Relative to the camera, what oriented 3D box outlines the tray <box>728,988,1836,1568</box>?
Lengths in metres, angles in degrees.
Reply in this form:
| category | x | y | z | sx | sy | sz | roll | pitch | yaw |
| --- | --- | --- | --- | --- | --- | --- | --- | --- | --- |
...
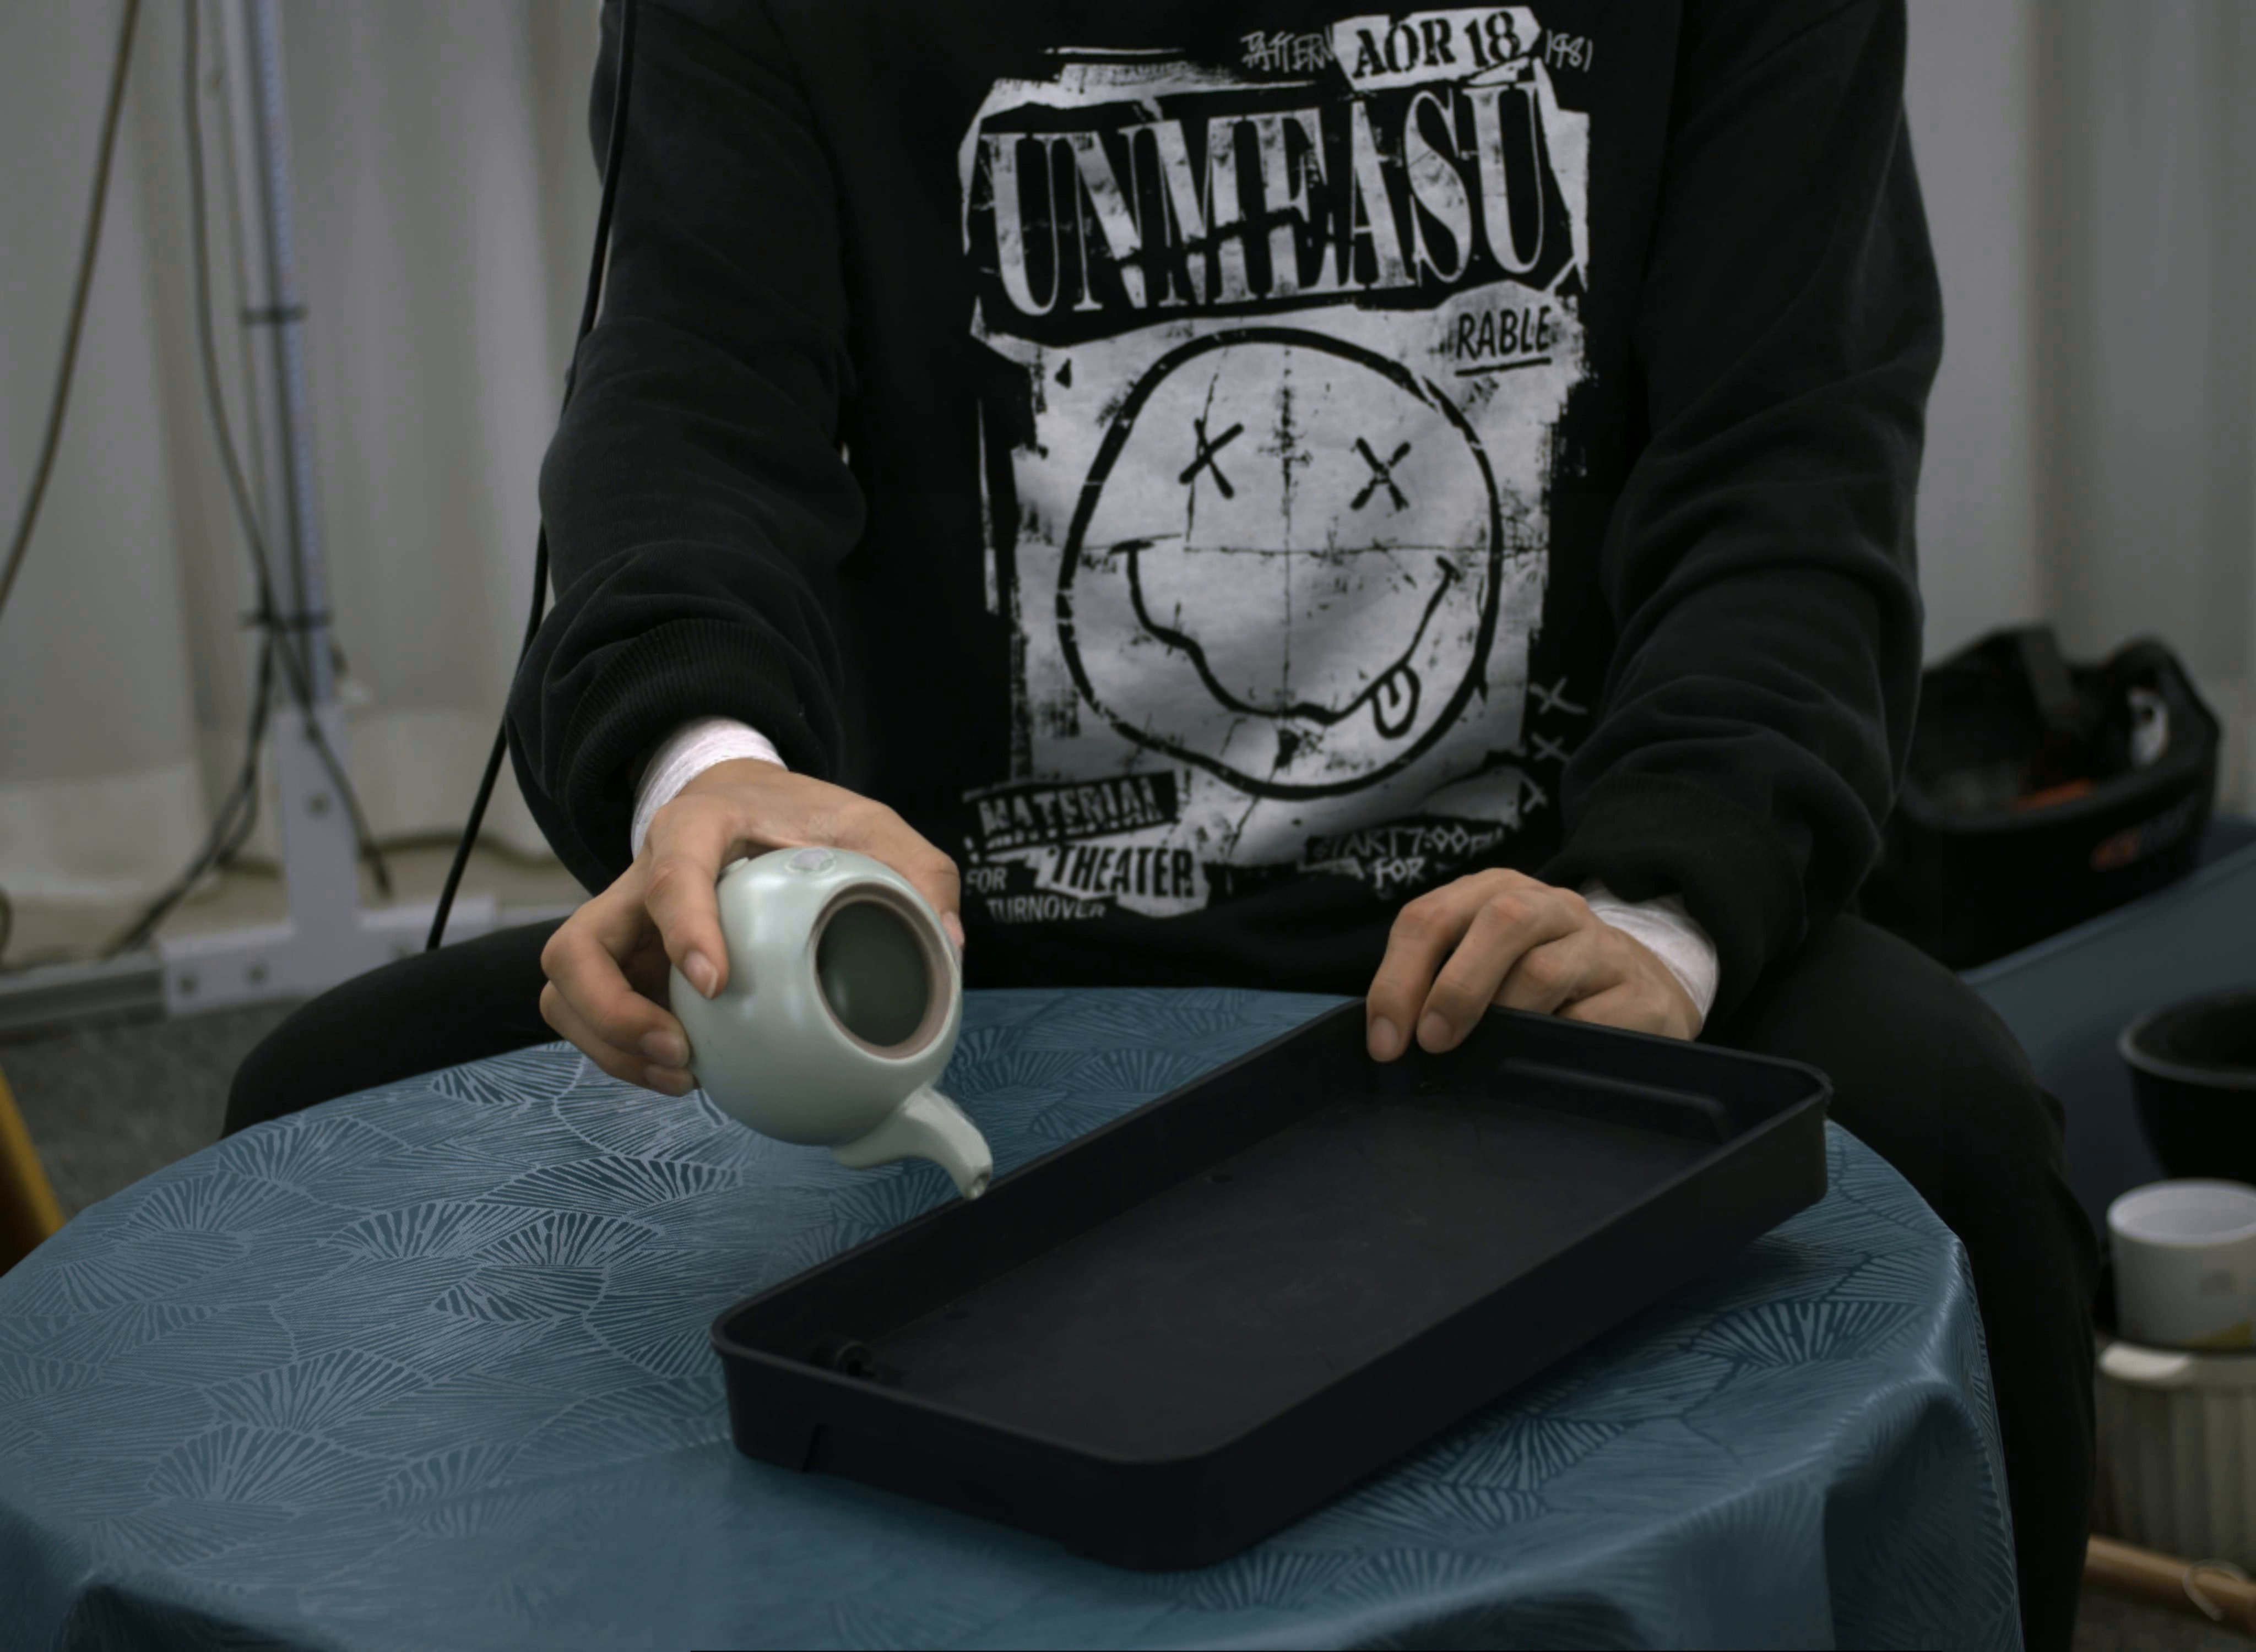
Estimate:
| category | x | y | z | sx | sy | sz | roll | pitch | yaw |
| --- | --- | --- | --- | --- | --- | --- | --- | --- | --- |
| tray | 0.051 | 0.122 | 1.570 | 0.185 | 0.037 | 0.318 | 8 | 22 | 39 |

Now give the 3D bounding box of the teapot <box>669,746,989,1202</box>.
| category | x | y | z | sx | sy | sz | roll | pitch | yaw |
| --- | --- | --- | --- | --- | --- | --- | --- | --- | --- |
| teapot | -0.091 | 0.048 | 1.598 | 0.074 | 0.144 | 0.088 | -18 | 3 | 43 |
